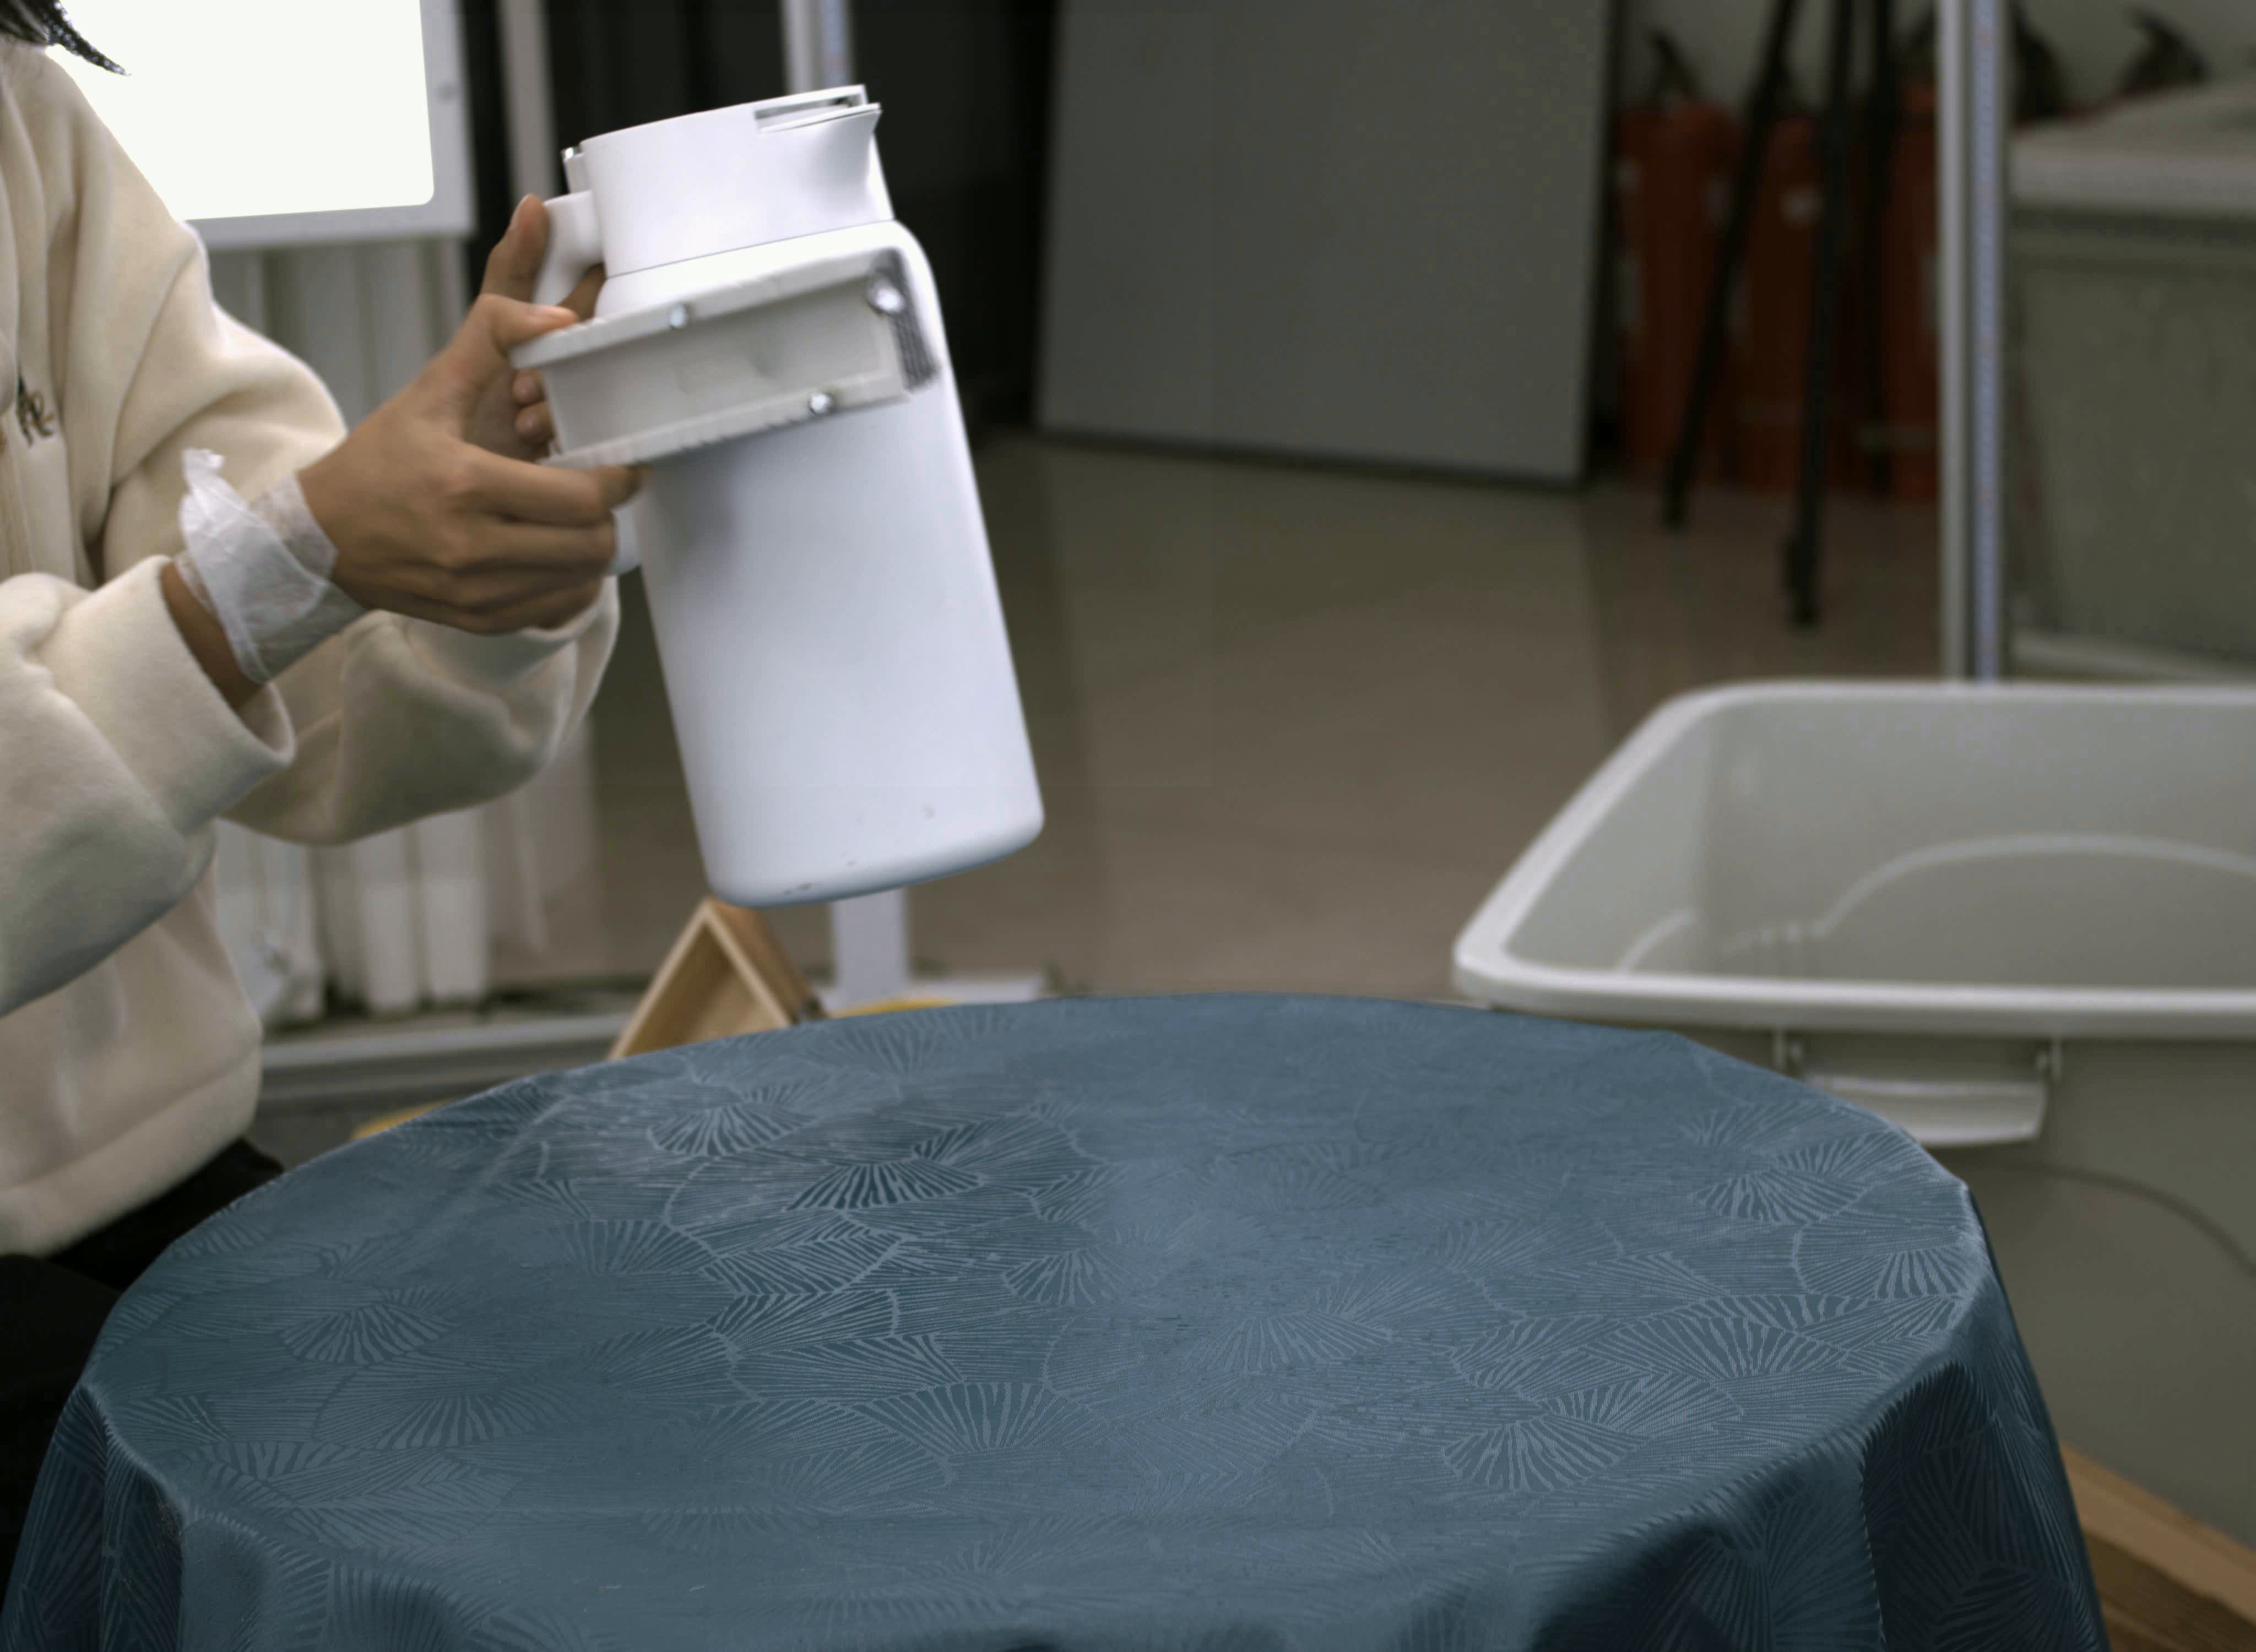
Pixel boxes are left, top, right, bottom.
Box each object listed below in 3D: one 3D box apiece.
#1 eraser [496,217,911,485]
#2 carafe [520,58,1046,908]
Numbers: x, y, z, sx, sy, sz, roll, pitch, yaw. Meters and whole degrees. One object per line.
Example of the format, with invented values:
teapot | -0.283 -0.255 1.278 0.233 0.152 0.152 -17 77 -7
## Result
eraser | -0.136 -0.152 1.737 0.135 0.050 0.046 -16 4 35
carafe | -0.122 -0.112 1.836 0.174 0.272 0.121 -8 8 42
